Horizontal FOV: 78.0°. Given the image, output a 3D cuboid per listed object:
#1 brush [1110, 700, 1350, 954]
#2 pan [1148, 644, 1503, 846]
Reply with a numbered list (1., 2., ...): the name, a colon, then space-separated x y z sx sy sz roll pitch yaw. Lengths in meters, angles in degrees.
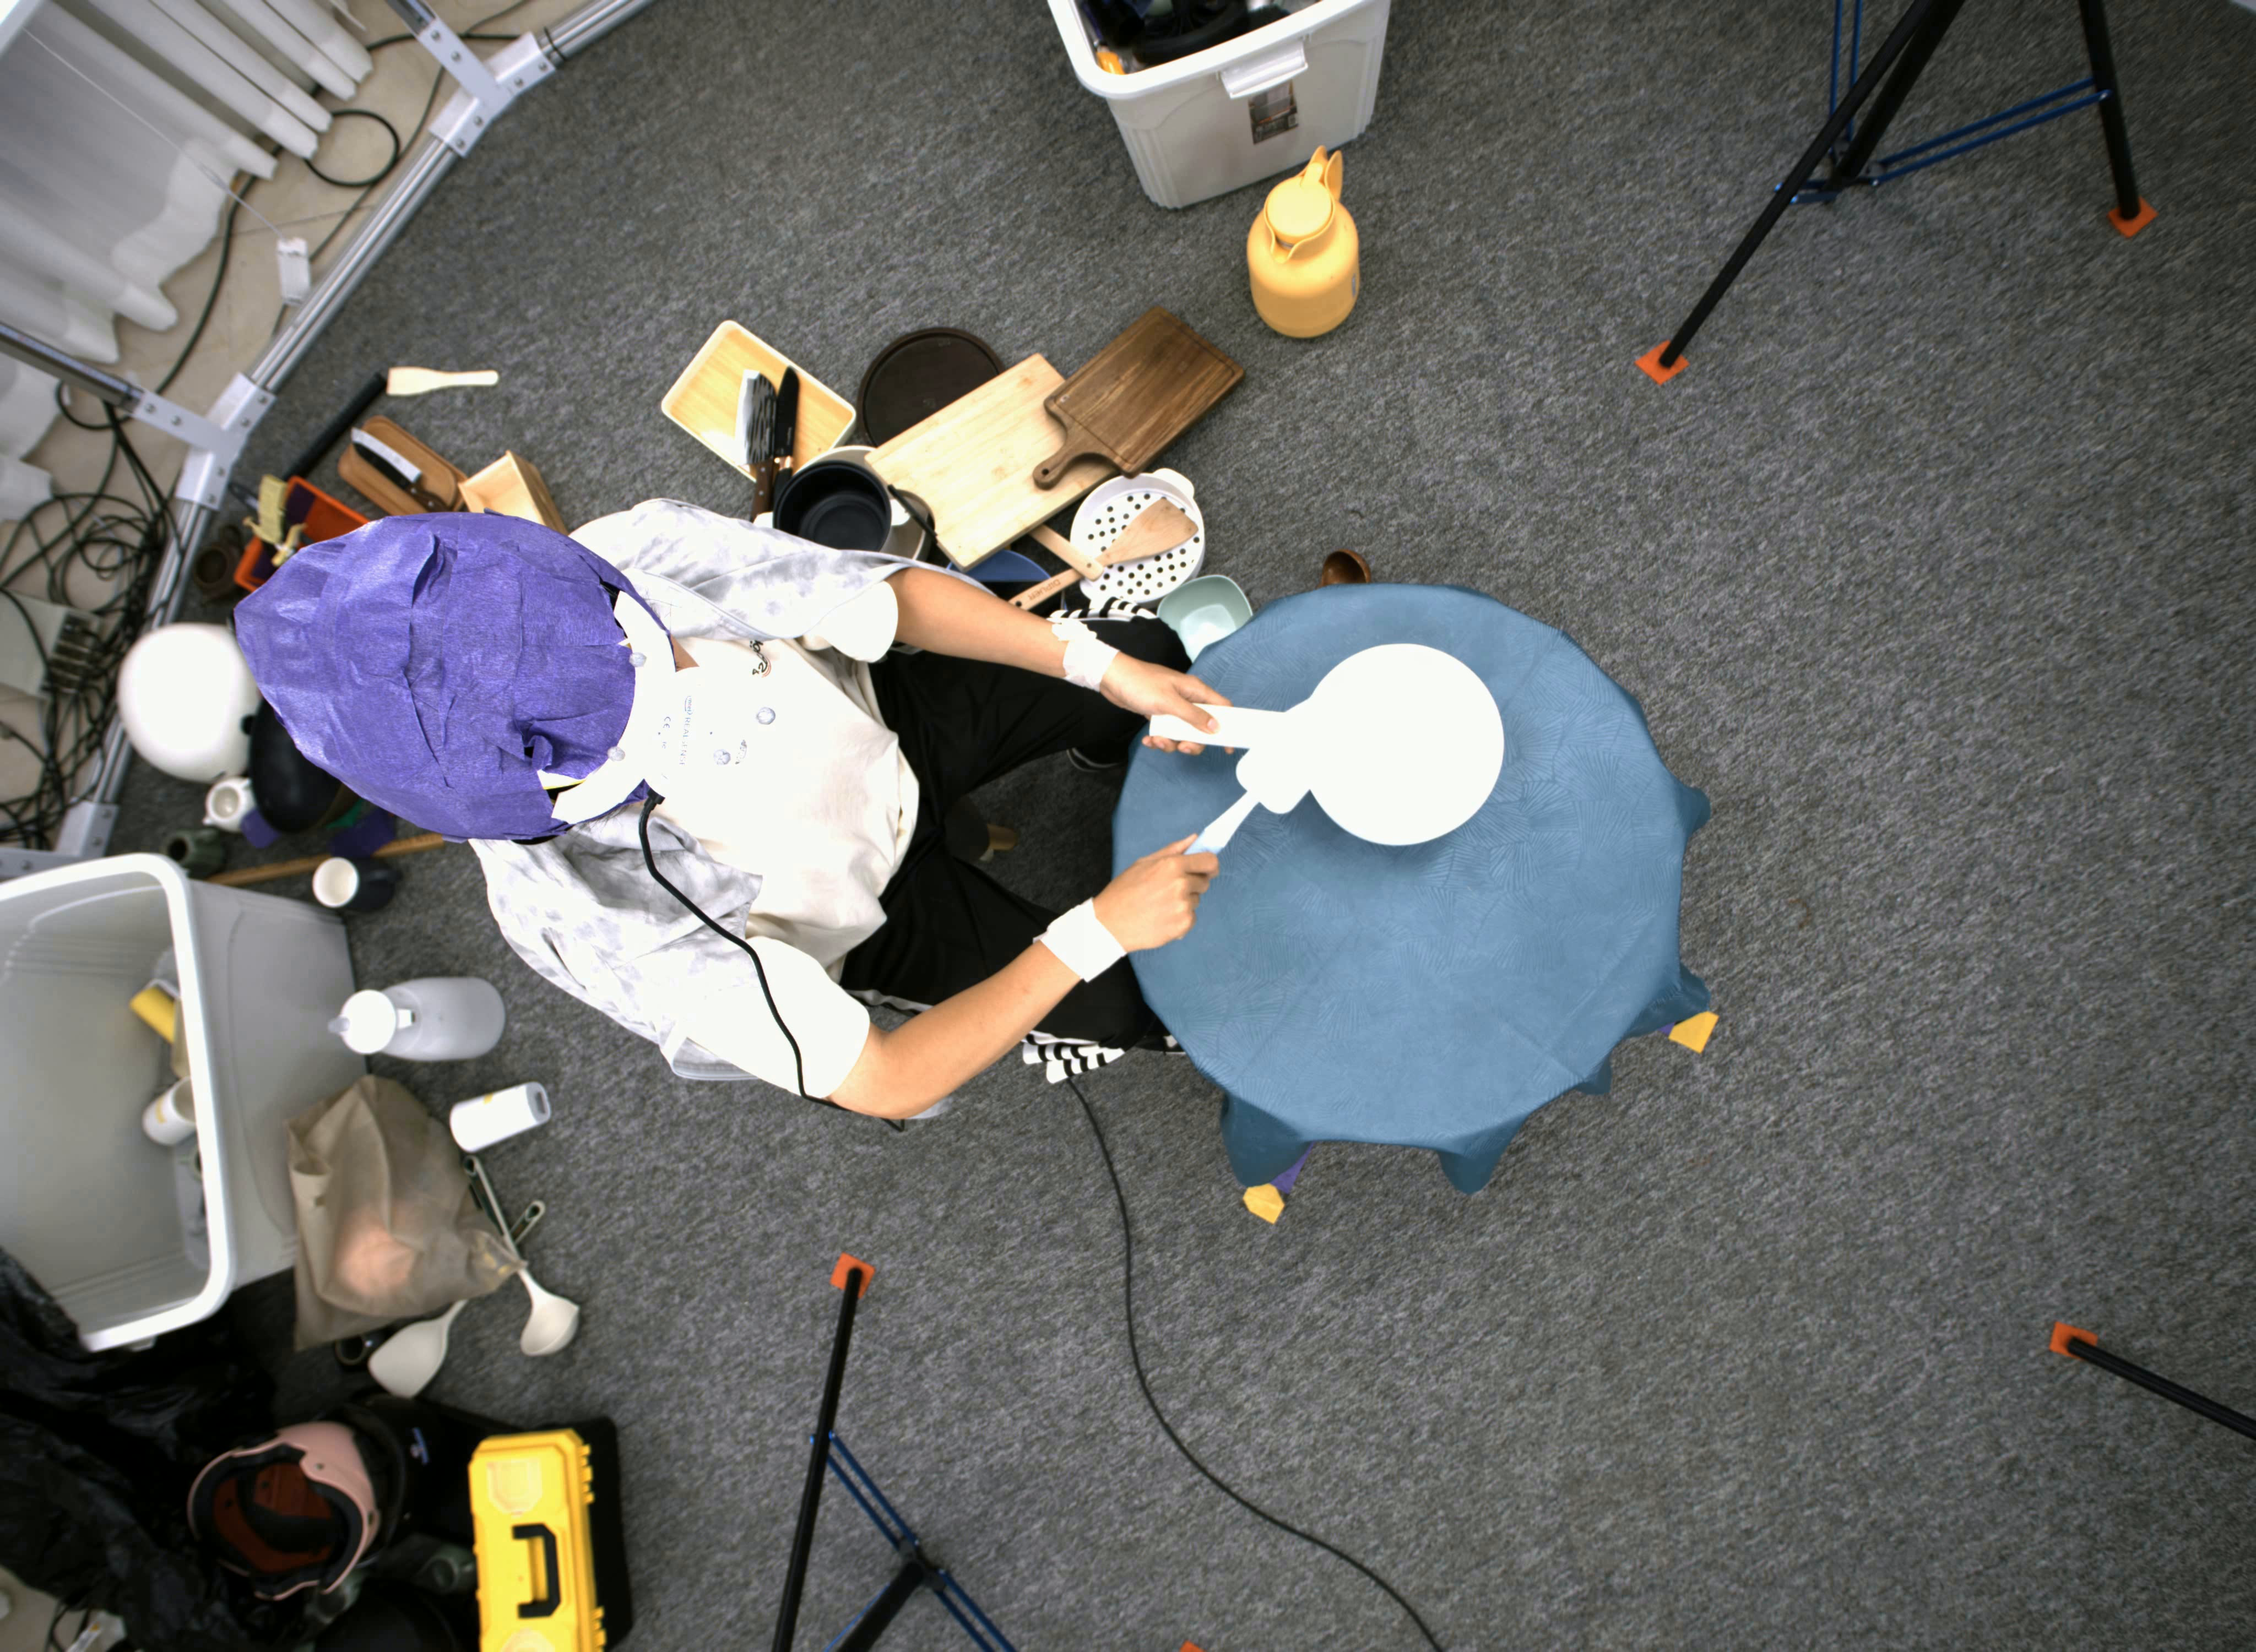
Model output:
1. brush: 0.097 0.000 1.362 0.326 0.085 0.082 -47 46 4
2. pan: 0.202 -0.088 1.425 0.356 0.102 0.200 6 88 9
